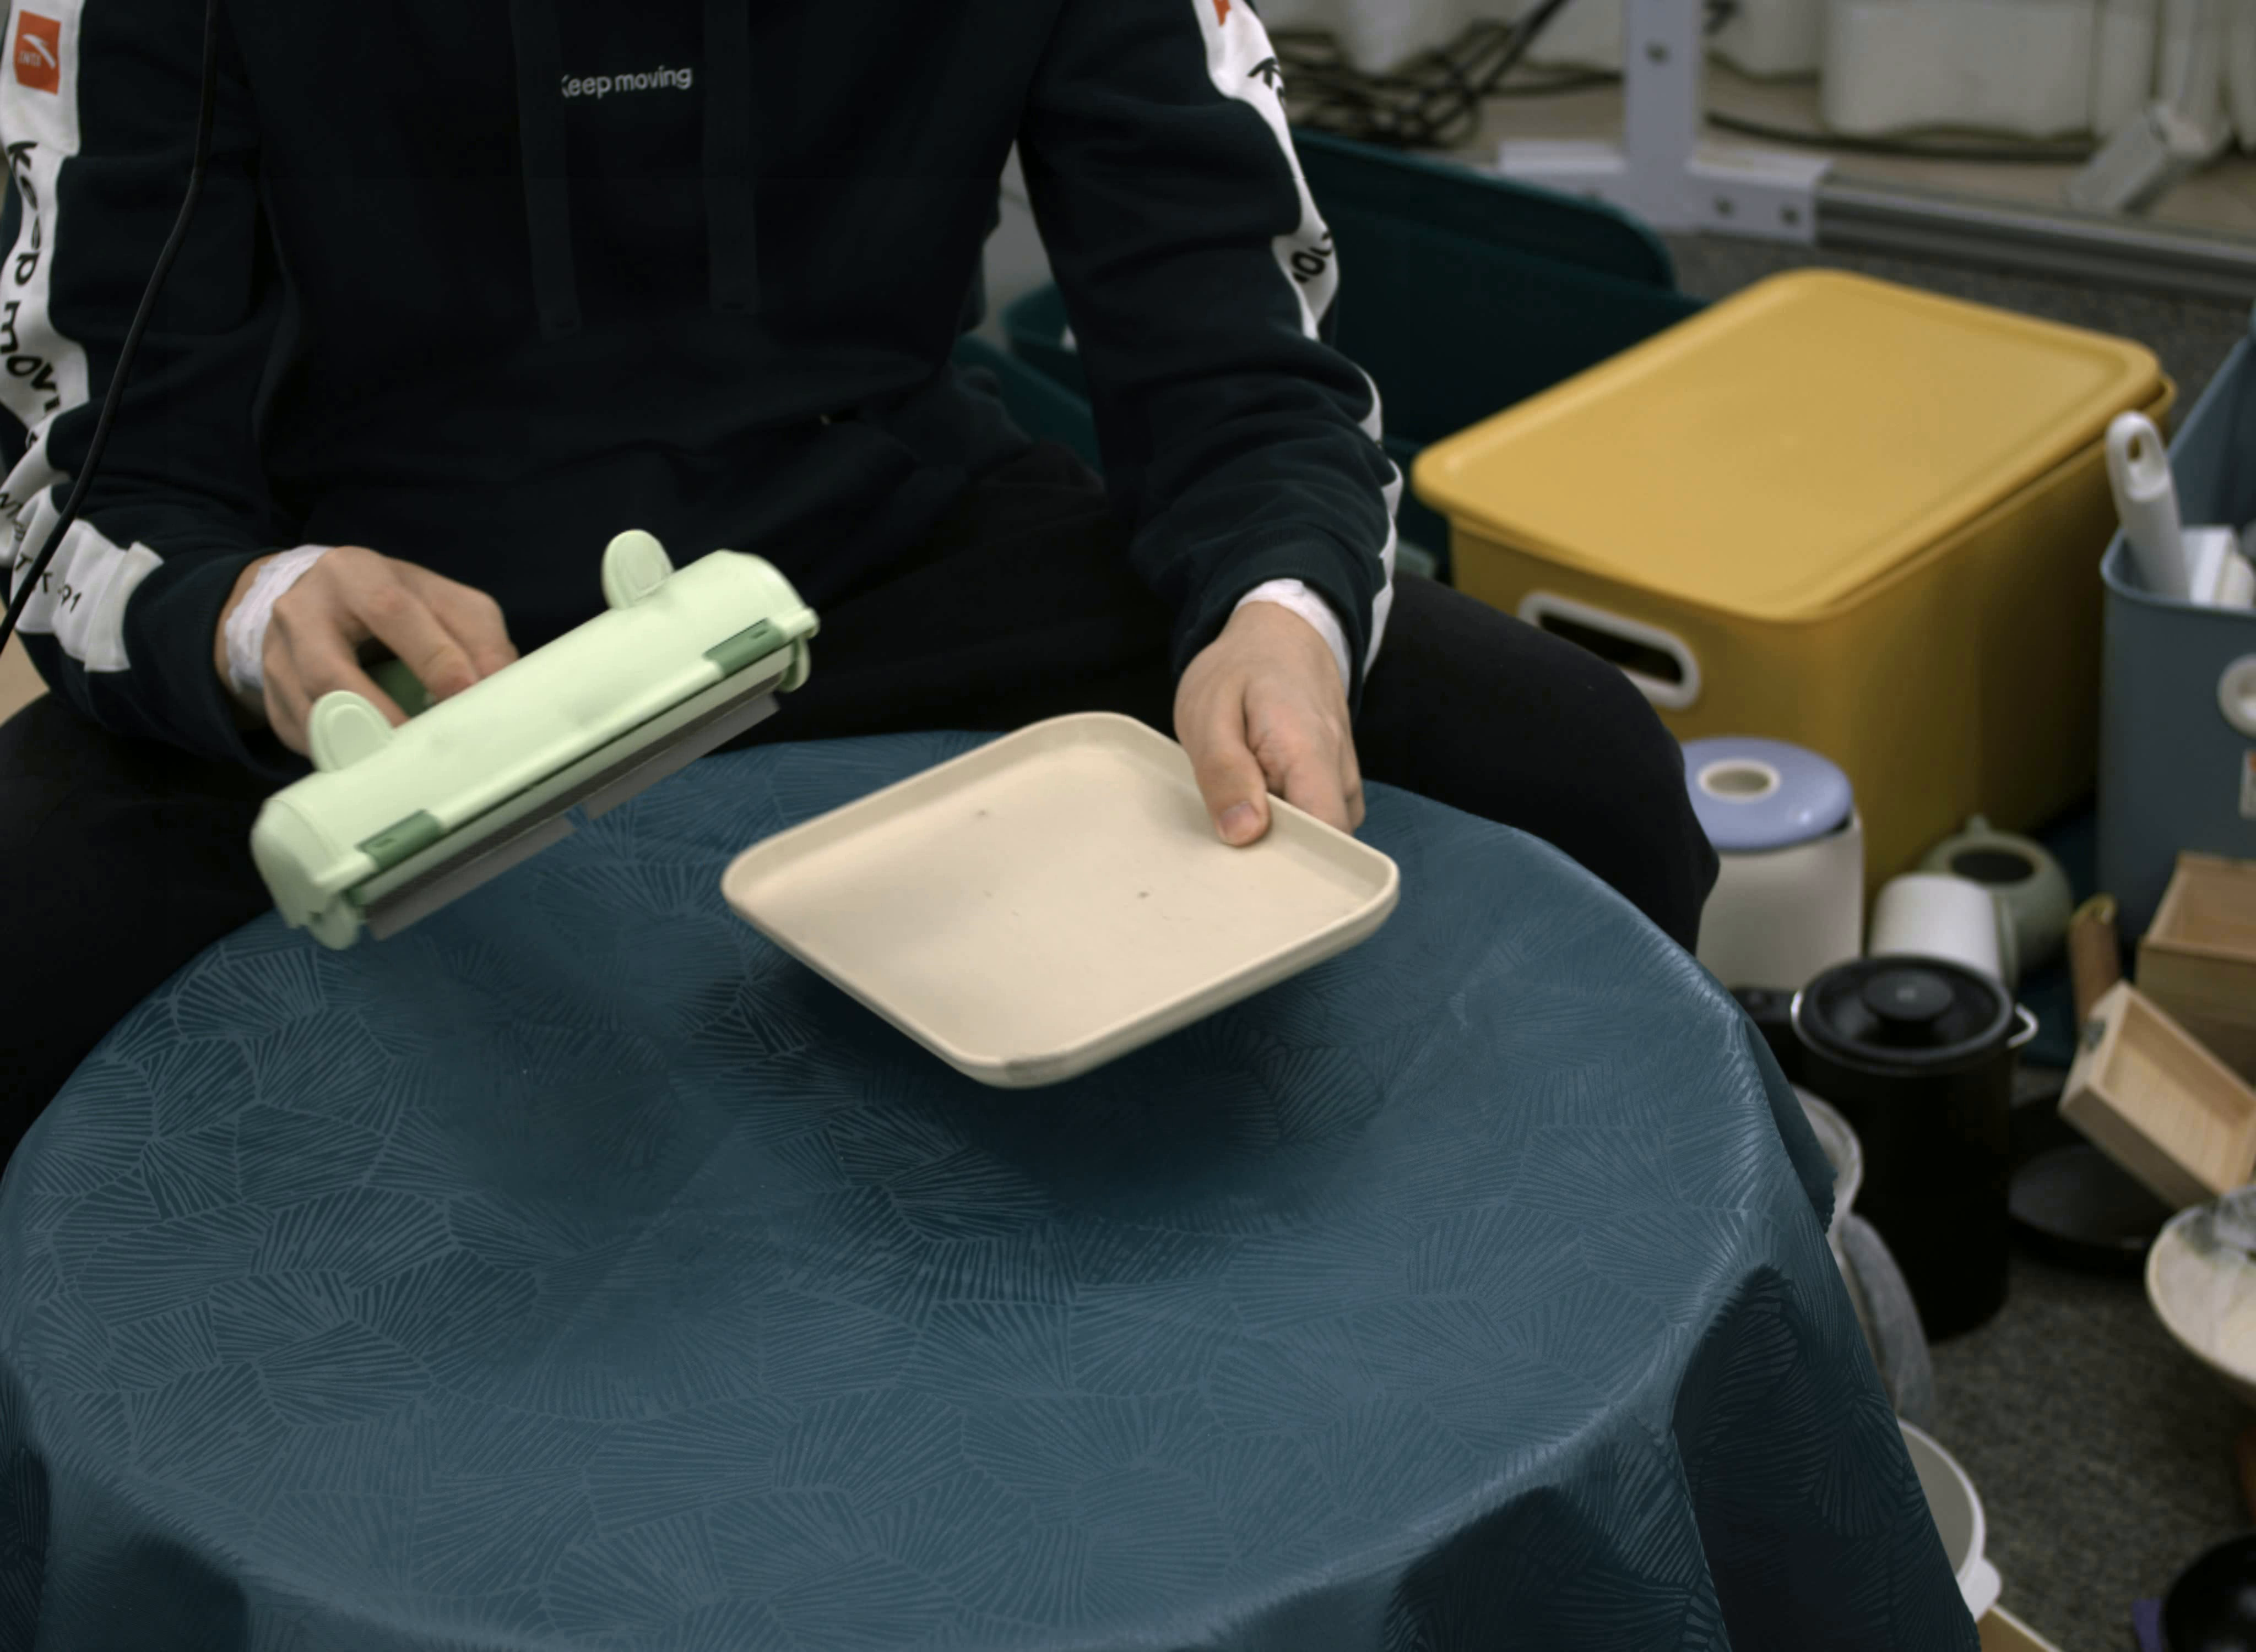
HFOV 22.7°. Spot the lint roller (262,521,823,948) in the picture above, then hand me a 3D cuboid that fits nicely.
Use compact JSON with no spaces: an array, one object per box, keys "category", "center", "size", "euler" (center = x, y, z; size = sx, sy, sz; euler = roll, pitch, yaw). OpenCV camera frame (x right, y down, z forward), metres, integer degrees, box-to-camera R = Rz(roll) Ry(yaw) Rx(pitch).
[{"category":"lint roller","center":[-0.224,-0.049,1.880],"size":[0.200,0.081,0.183],"euler":[-32,33,-26]}]

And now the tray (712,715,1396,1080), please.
[{"category":"tray","center":[-0.027,0.023,1.929],"size":[0.172,0.017,0.240],"euler":[-22,26,-22]}]
